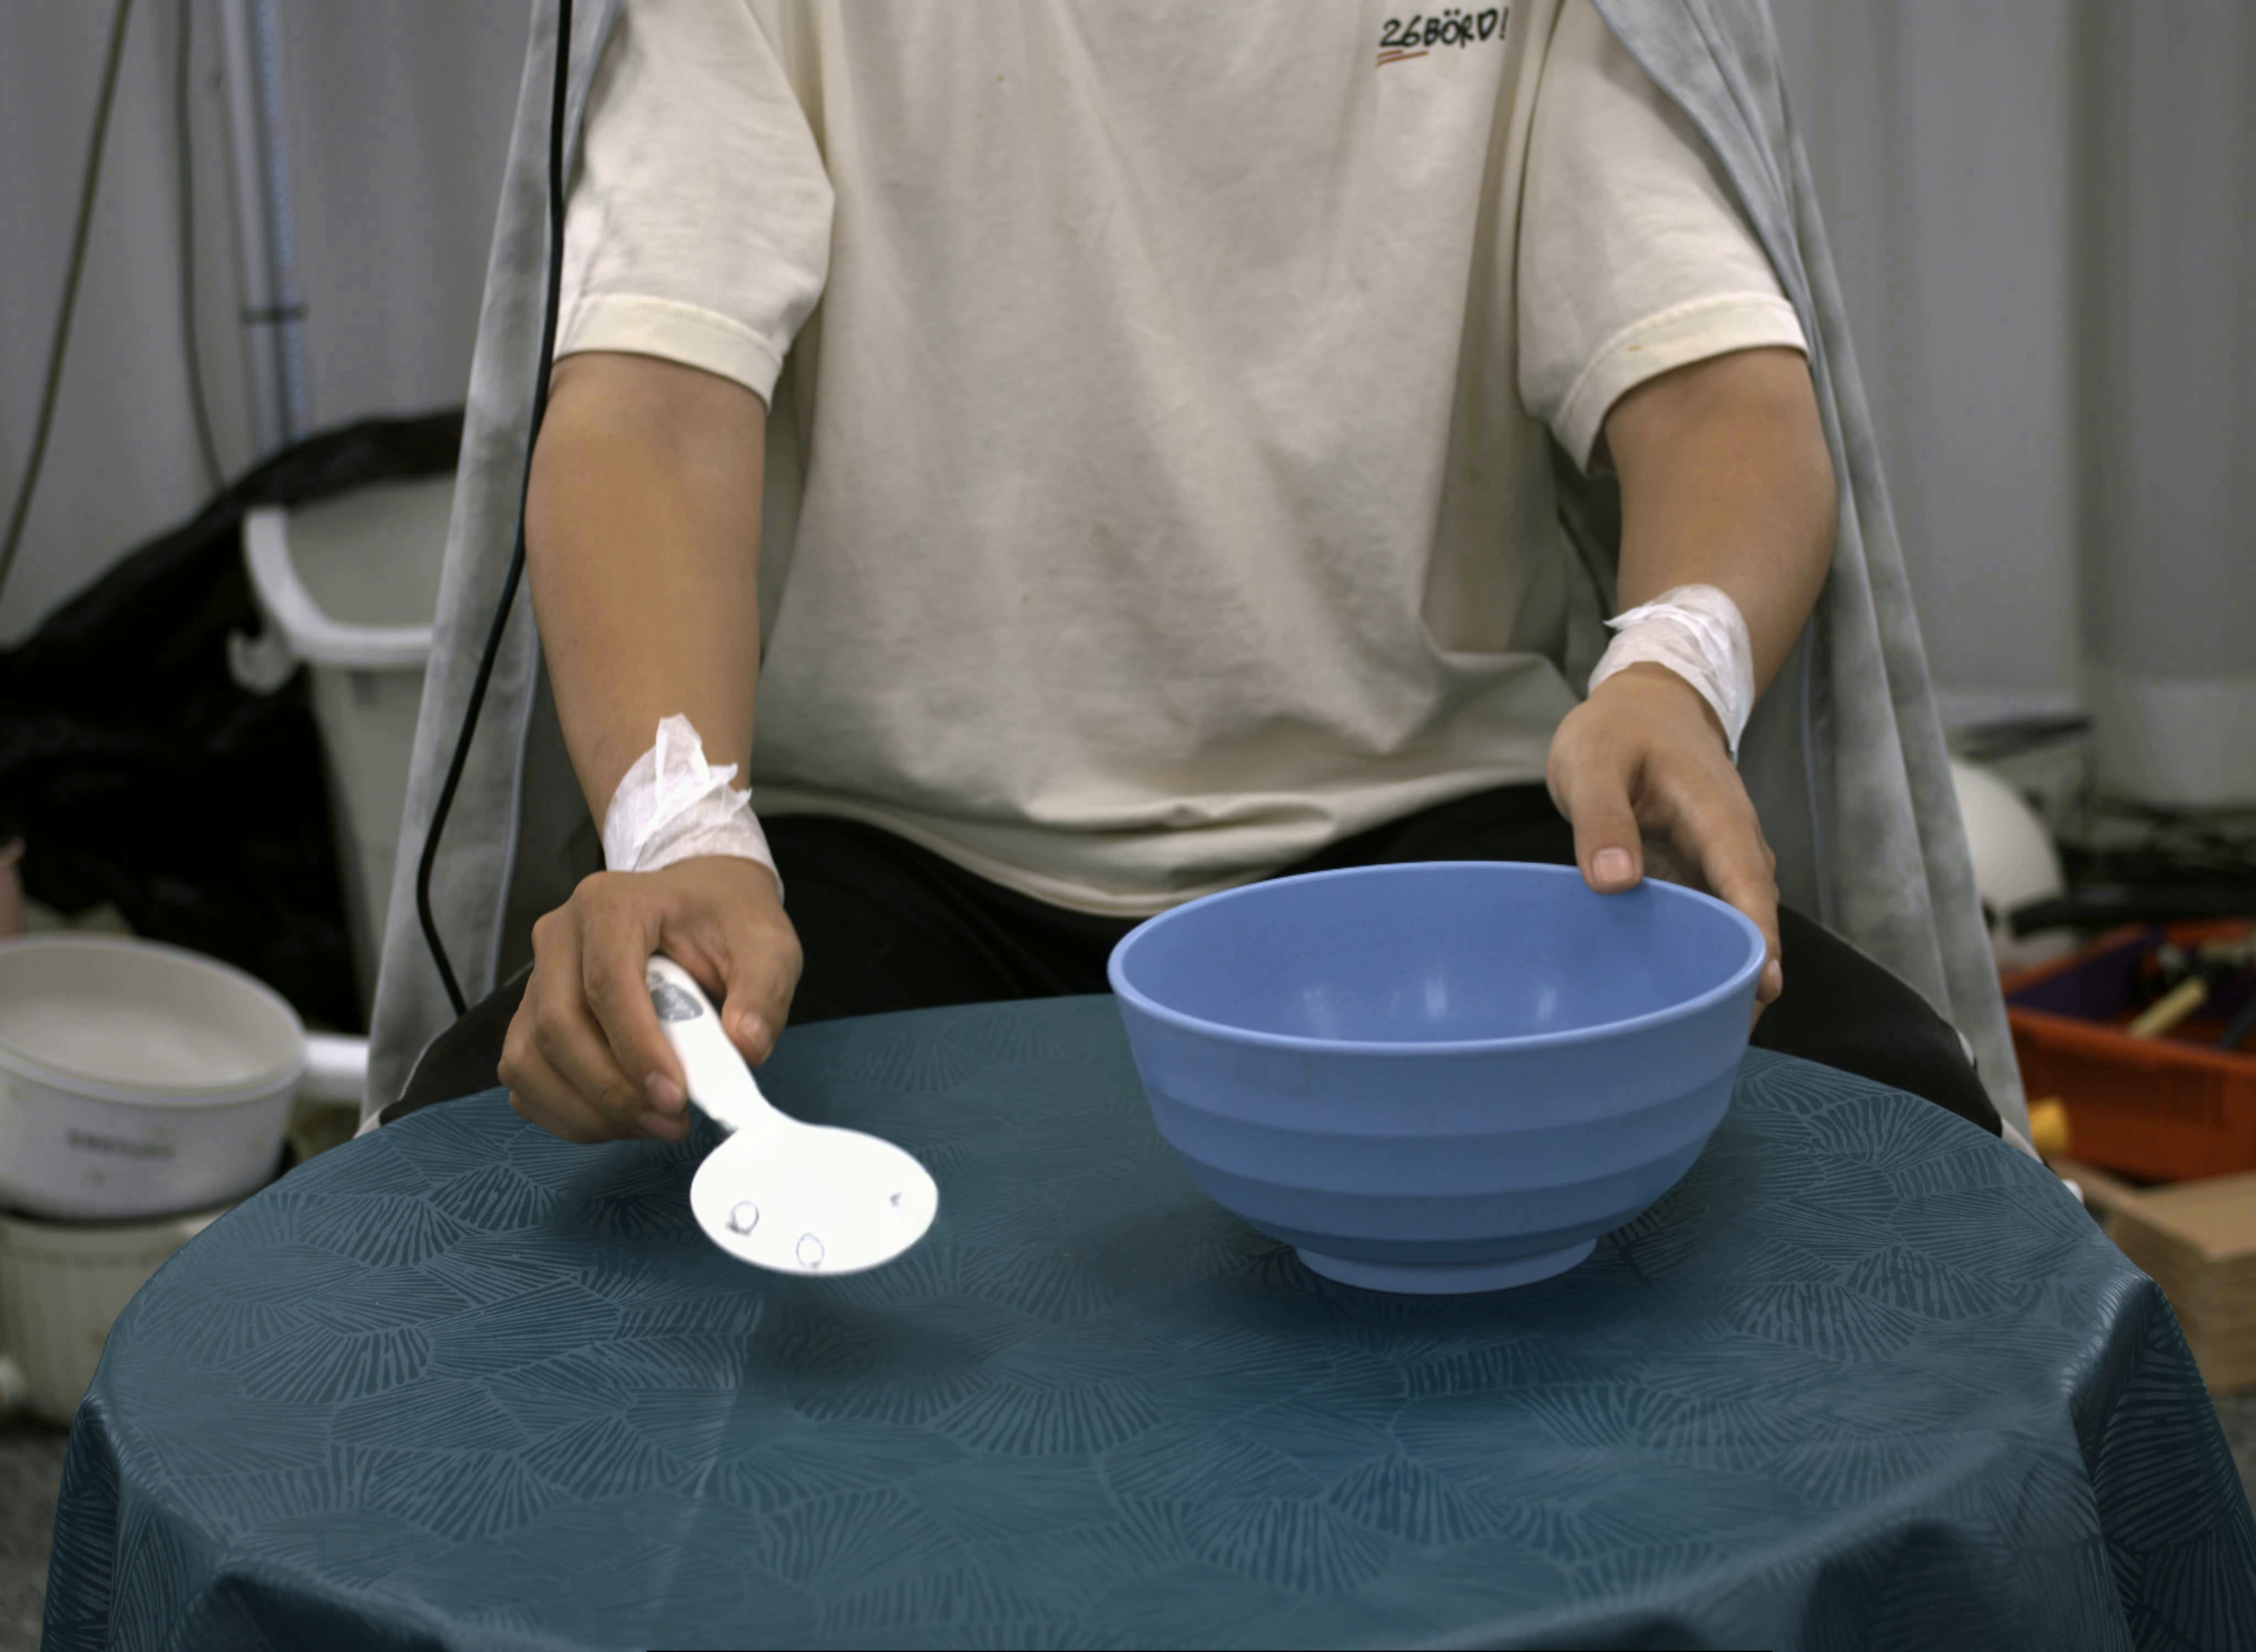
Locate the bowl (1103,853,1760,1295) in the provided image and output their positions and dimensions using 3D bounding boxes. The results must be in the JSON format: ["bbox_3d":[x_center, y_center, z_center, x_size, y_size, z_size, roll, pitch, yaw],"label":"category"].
[{"bbox_3d":[0.093,0.080,1.644,0.196,0.095,0.198,-4,16,1],"label":"bowl"}]

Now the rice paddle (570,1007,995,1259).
[{"bbox_3d":[-0.107,0.094,1.634,0.068,0.029,0.207,-4,15,-32],"label":"rice paddle"}]
